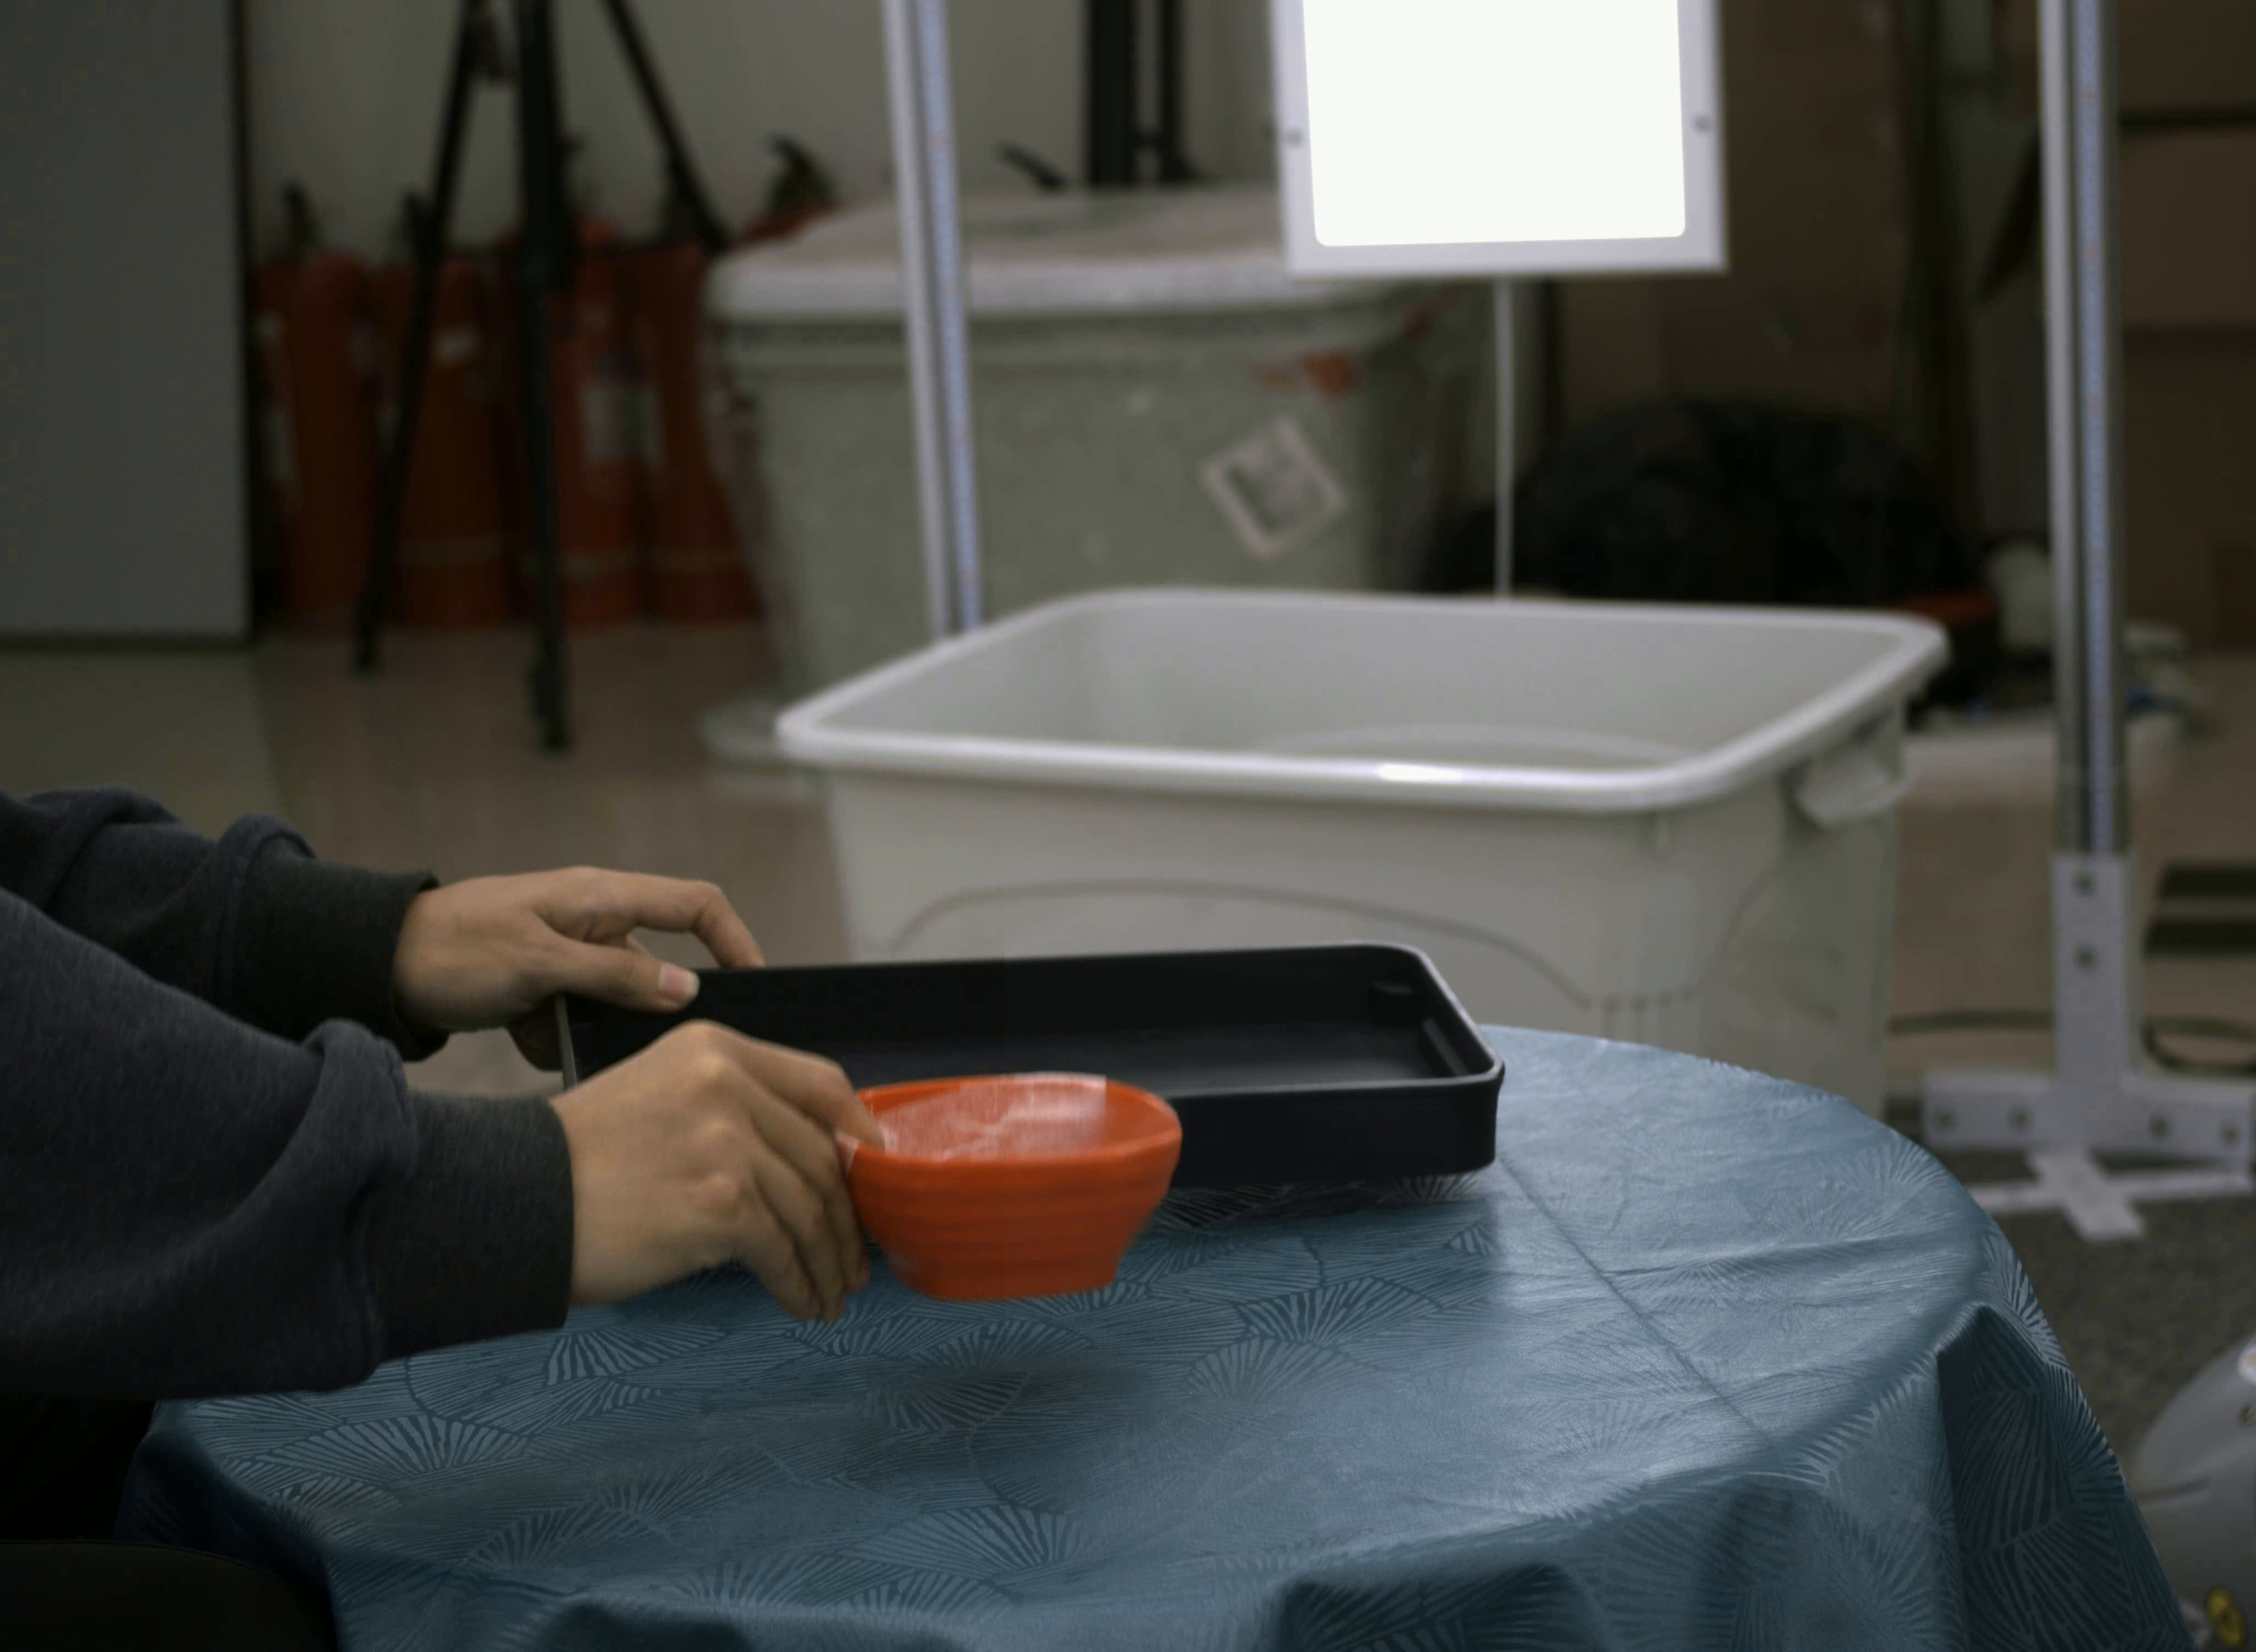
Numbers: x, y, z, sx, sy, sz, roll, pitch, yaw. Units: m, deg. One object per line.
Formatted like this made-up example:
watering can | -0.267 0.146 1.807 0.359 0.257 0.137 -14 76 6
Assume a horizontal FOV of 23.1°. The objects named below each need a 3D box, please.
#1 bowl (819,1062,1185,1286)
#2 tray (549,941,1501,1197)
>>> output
bowl | -0.039 0.109 1.698 0.118 0.051 0.119 0 10 -1
tray | -0.040 0.082 1.913 0.315 0.037 0.185 -1 14 -6
